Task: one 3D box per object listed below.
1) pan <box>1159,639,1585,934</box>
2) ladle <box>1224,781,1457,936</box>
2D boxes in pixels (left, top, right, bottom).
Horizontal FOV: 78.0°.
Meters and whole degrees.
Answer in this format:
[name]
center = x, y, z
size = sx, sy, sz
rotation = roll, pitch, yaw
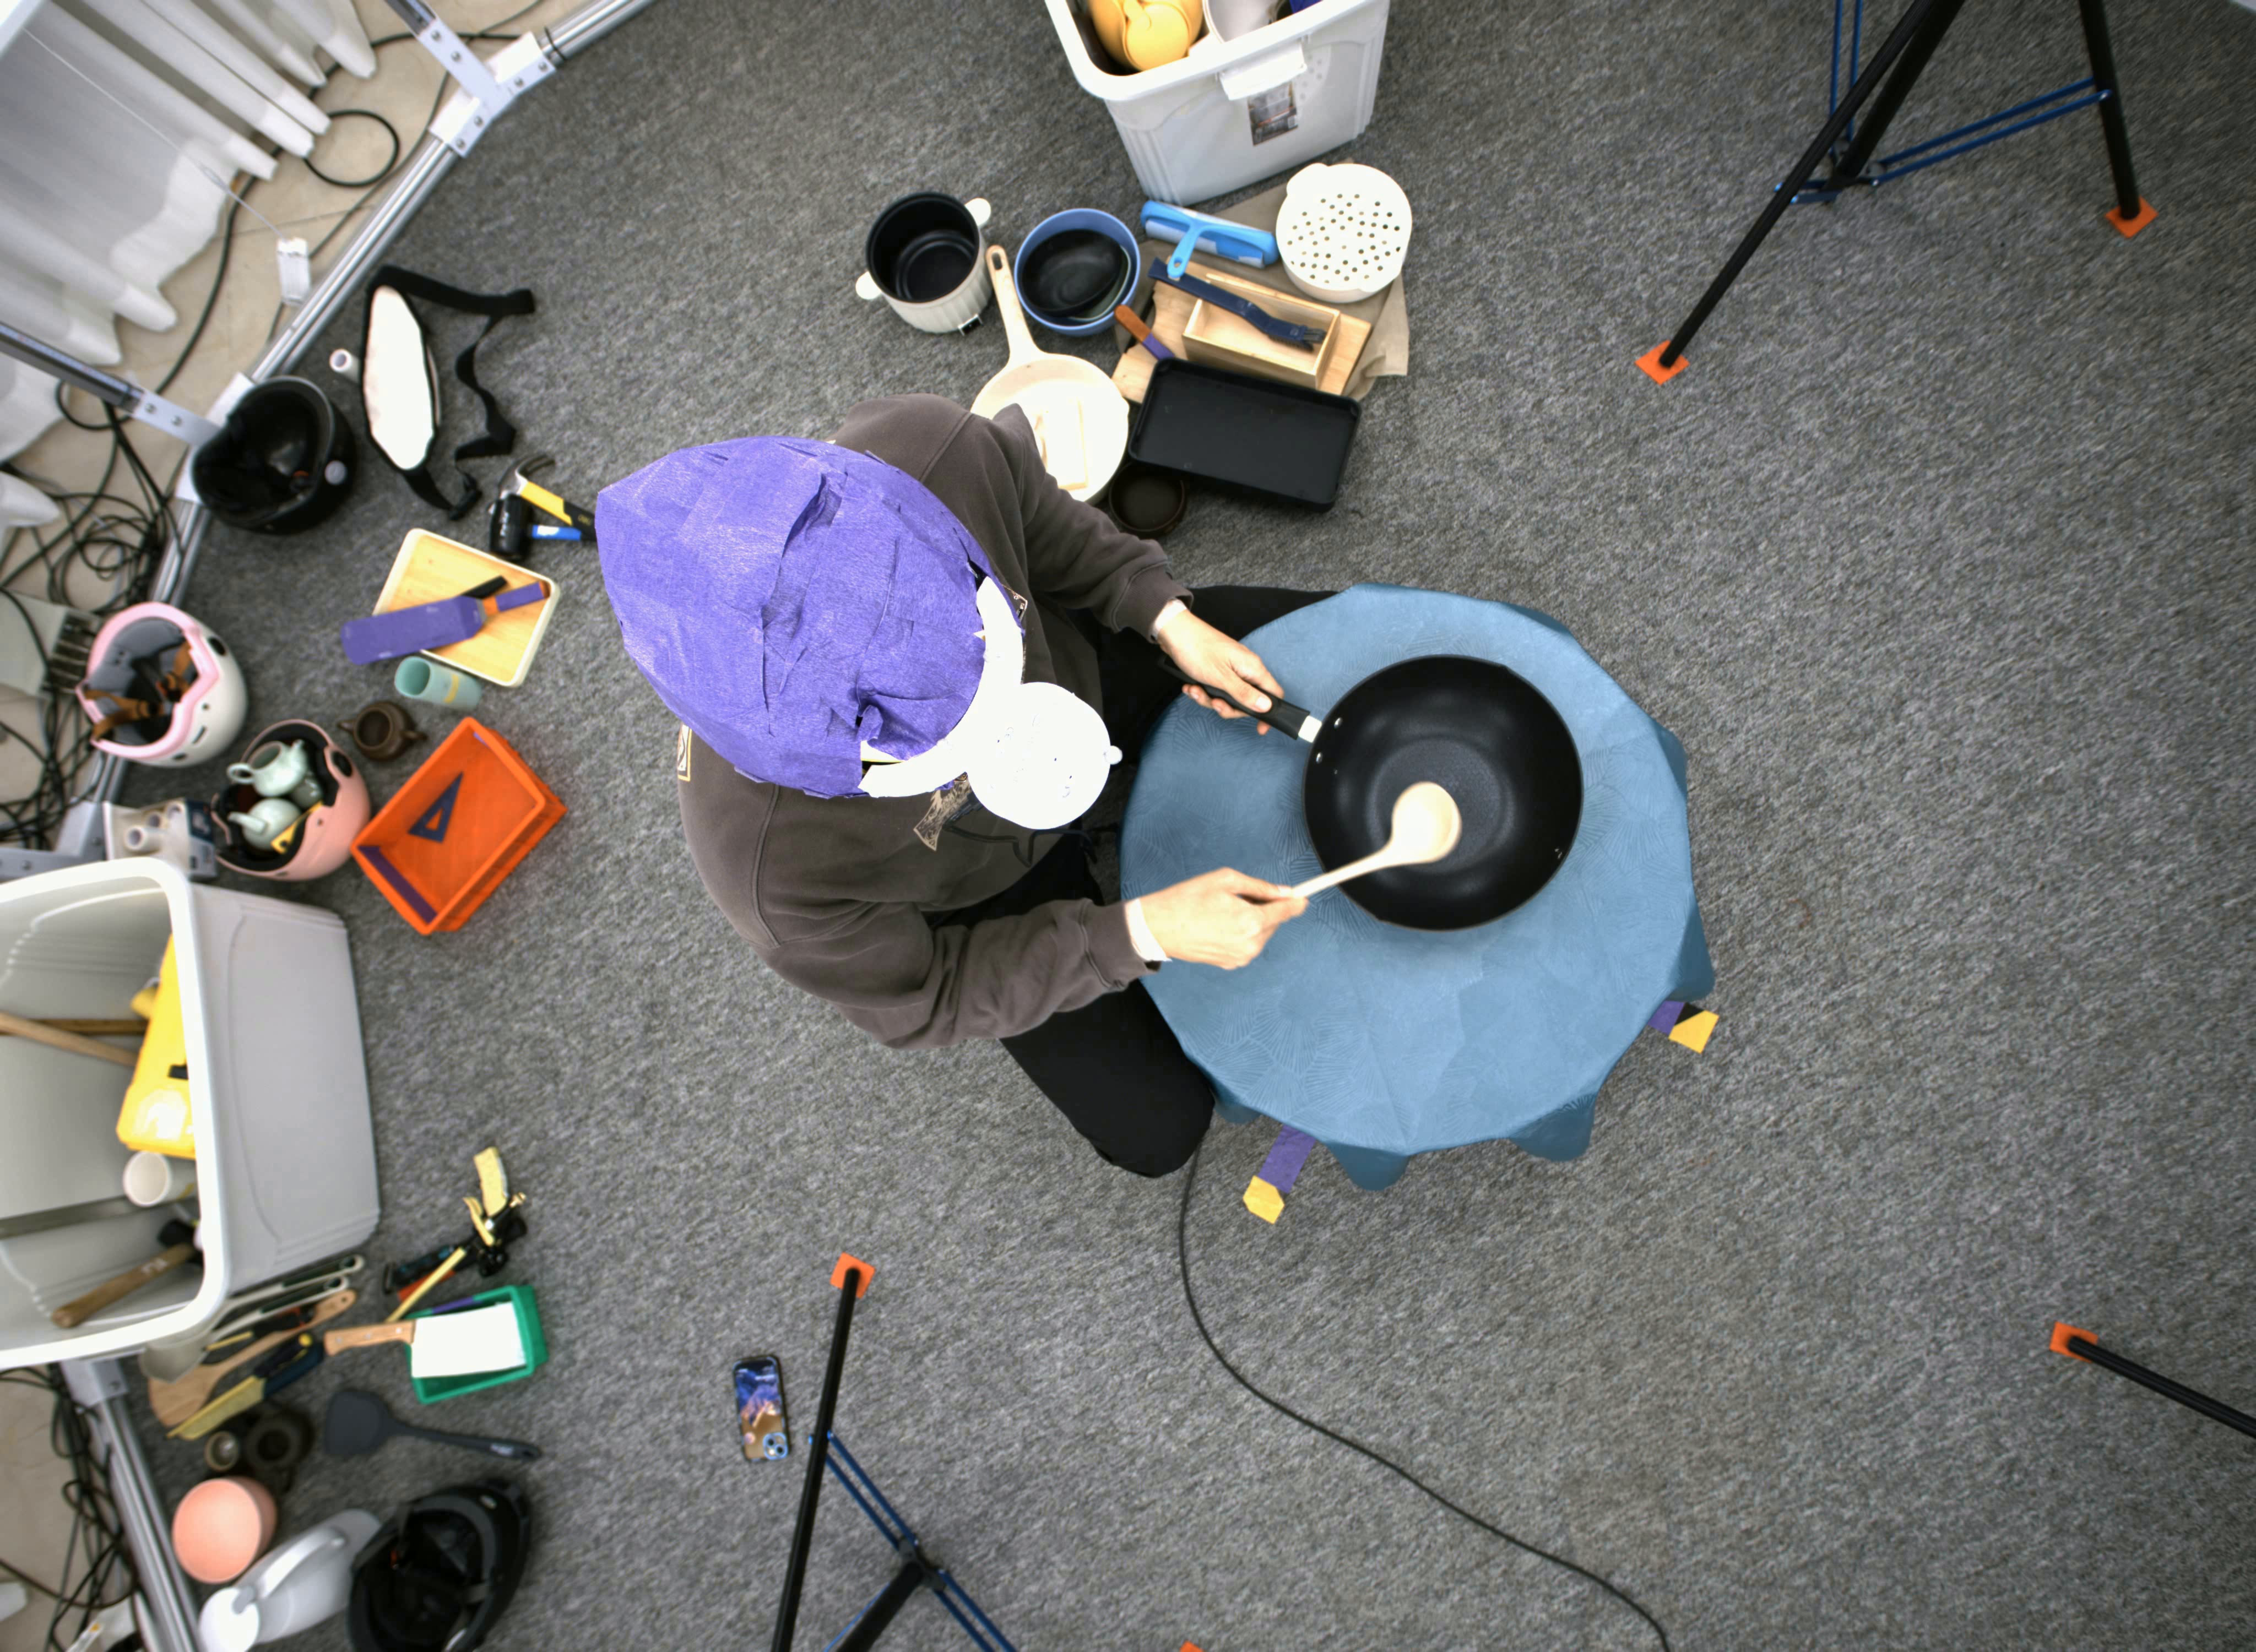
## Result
[pan]
center = 0.239, -0.072, 1.429
size = 0.462, 0.087, 0.288
rotation = 28, 92, 12
[ladle]
center = 0.199, 0.028, 1.286
size = 0.251, 0.074, 0.071
rotation = -23, 59, -23
